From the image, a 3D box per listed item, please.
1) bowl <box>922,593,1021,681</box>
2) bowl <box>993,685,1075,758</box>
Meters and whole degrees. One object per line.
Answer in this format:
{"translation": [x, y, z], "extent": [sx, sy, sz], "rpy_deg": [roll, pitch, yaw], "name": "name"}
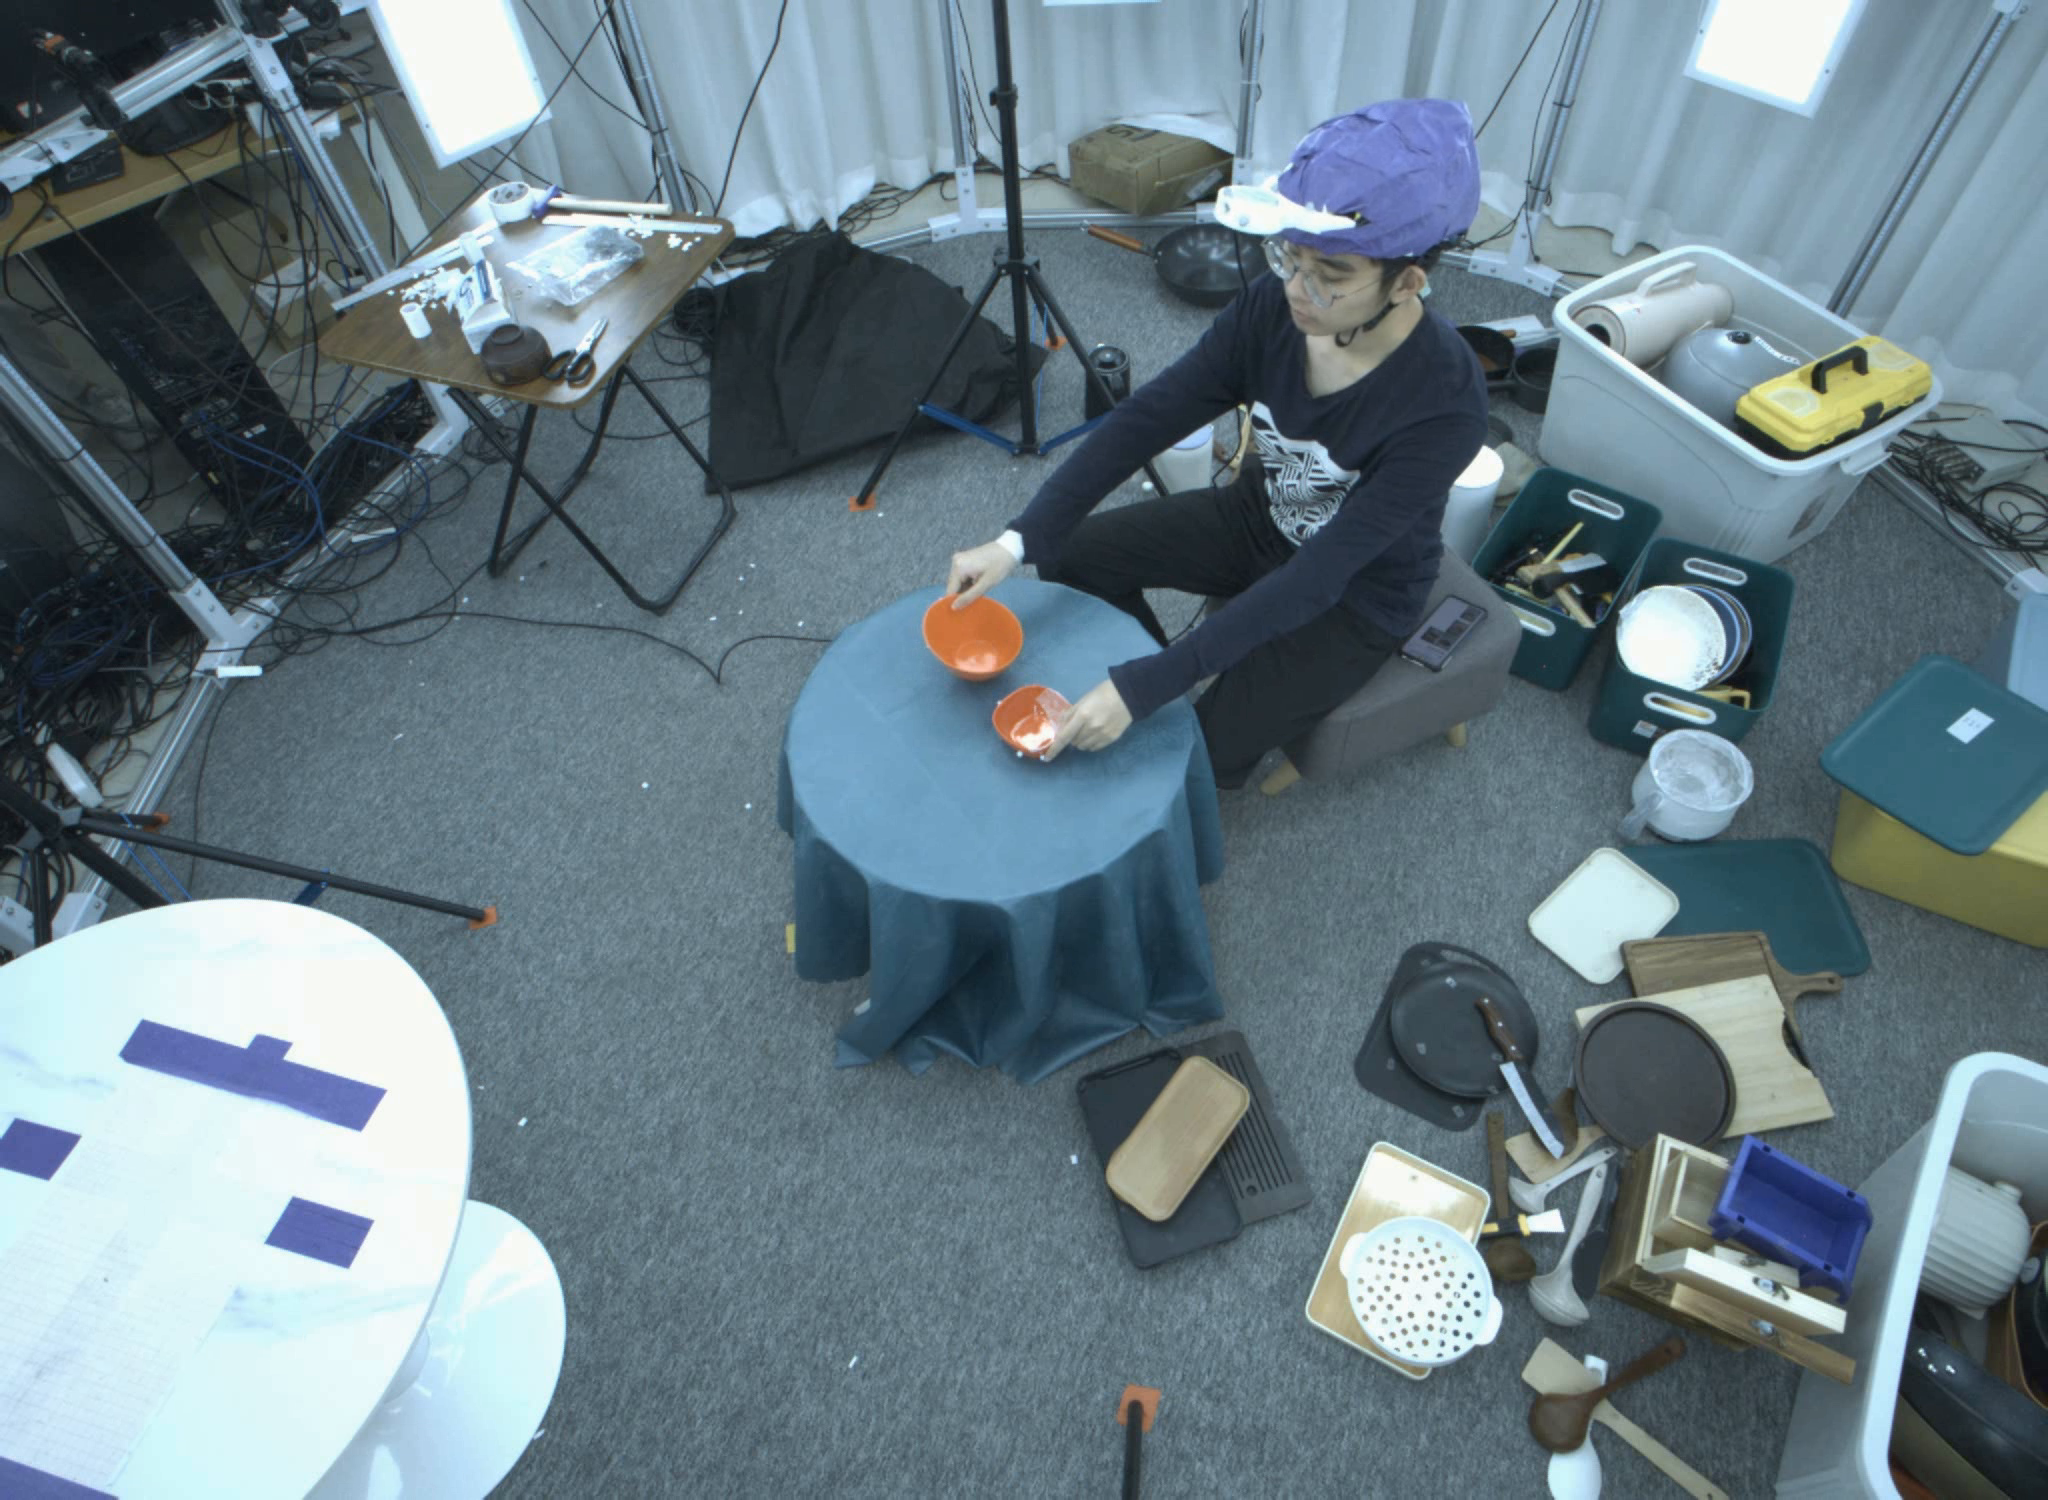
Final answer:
{"translation": [-0.081, -0.155, 1.840], "extent": [0.149, 0.105, 0.146], "rpy_deg": [3, 62, -5], "name": "bowl"}
{"translation": [0.016, -0.034, 1.788], "extent": [0.119, 0.052, 0.117], "rpy_deg": [-1, 52, 2], "name": "bowl"}
